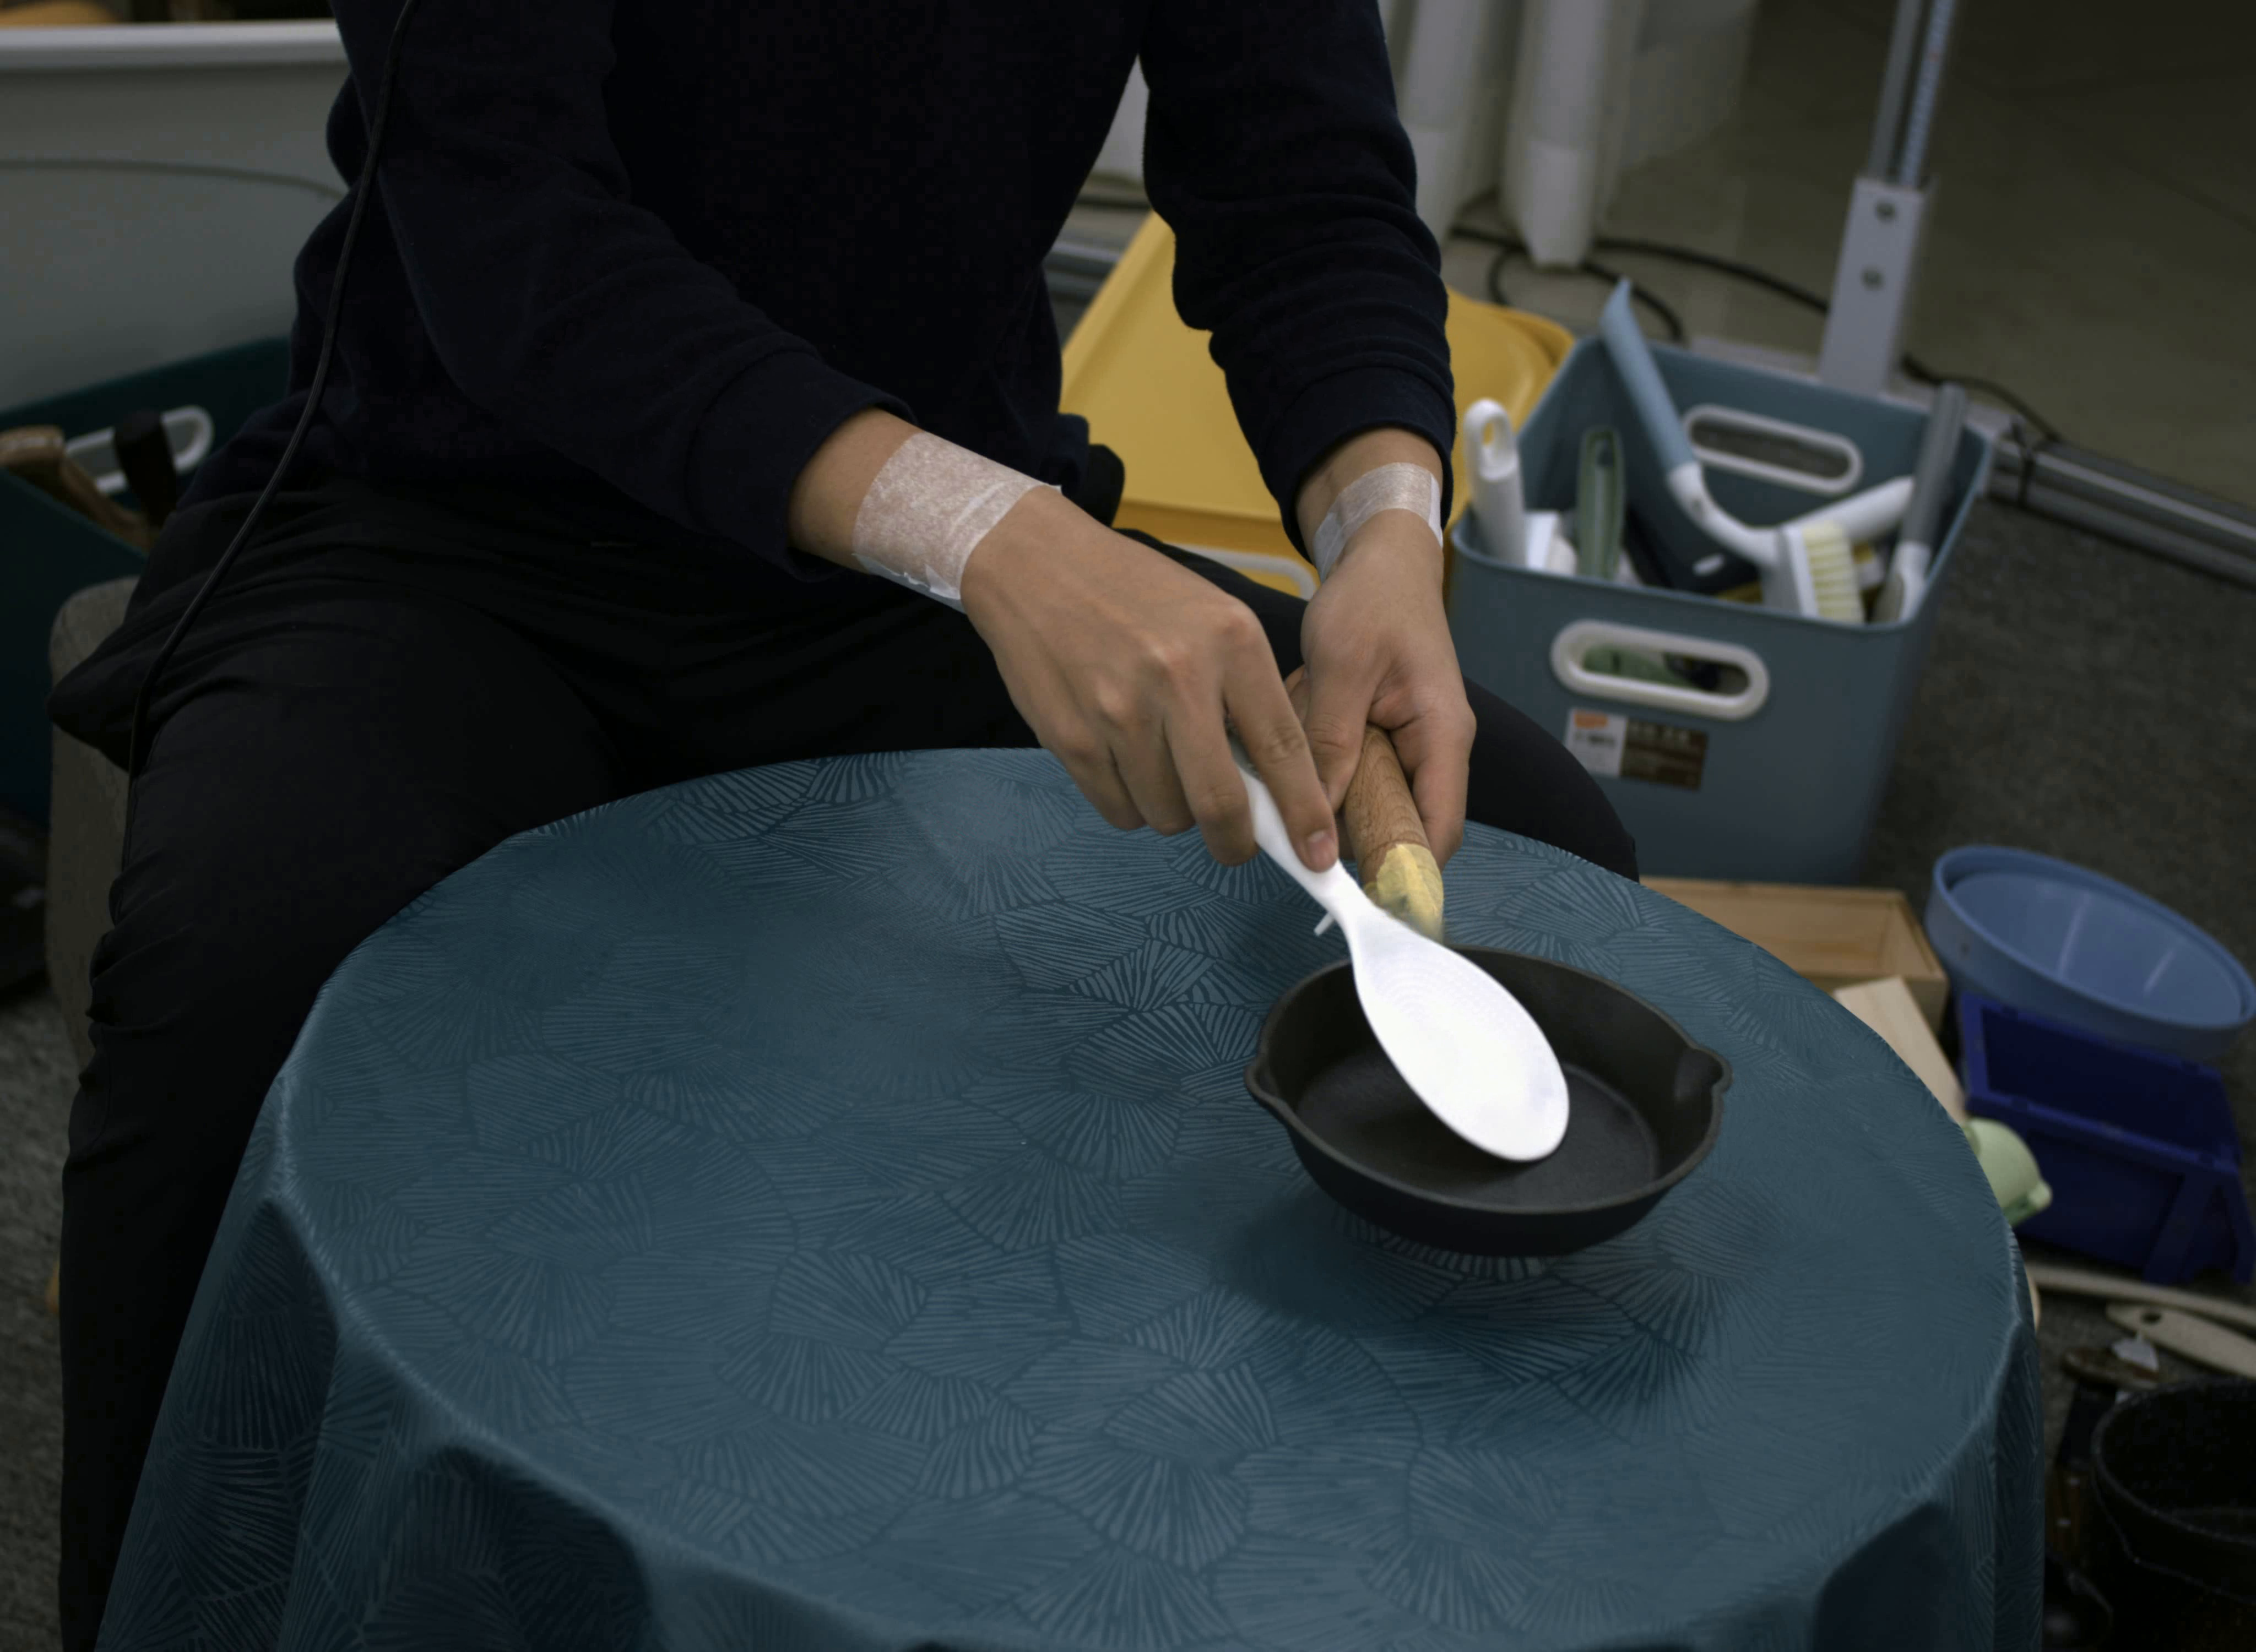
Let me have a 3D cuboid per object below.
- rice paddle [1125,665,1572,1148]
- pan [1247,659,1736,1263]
[{"bbox_3d":[0.078,0.029,1.810,0.206,0.029,0.068,48,45,9],"label":"rice paddle"},{"bbox_3d":[0.107,0.044,1.851,0.168,0.049,0.327,0,33,-11],"label":"pan"}]
